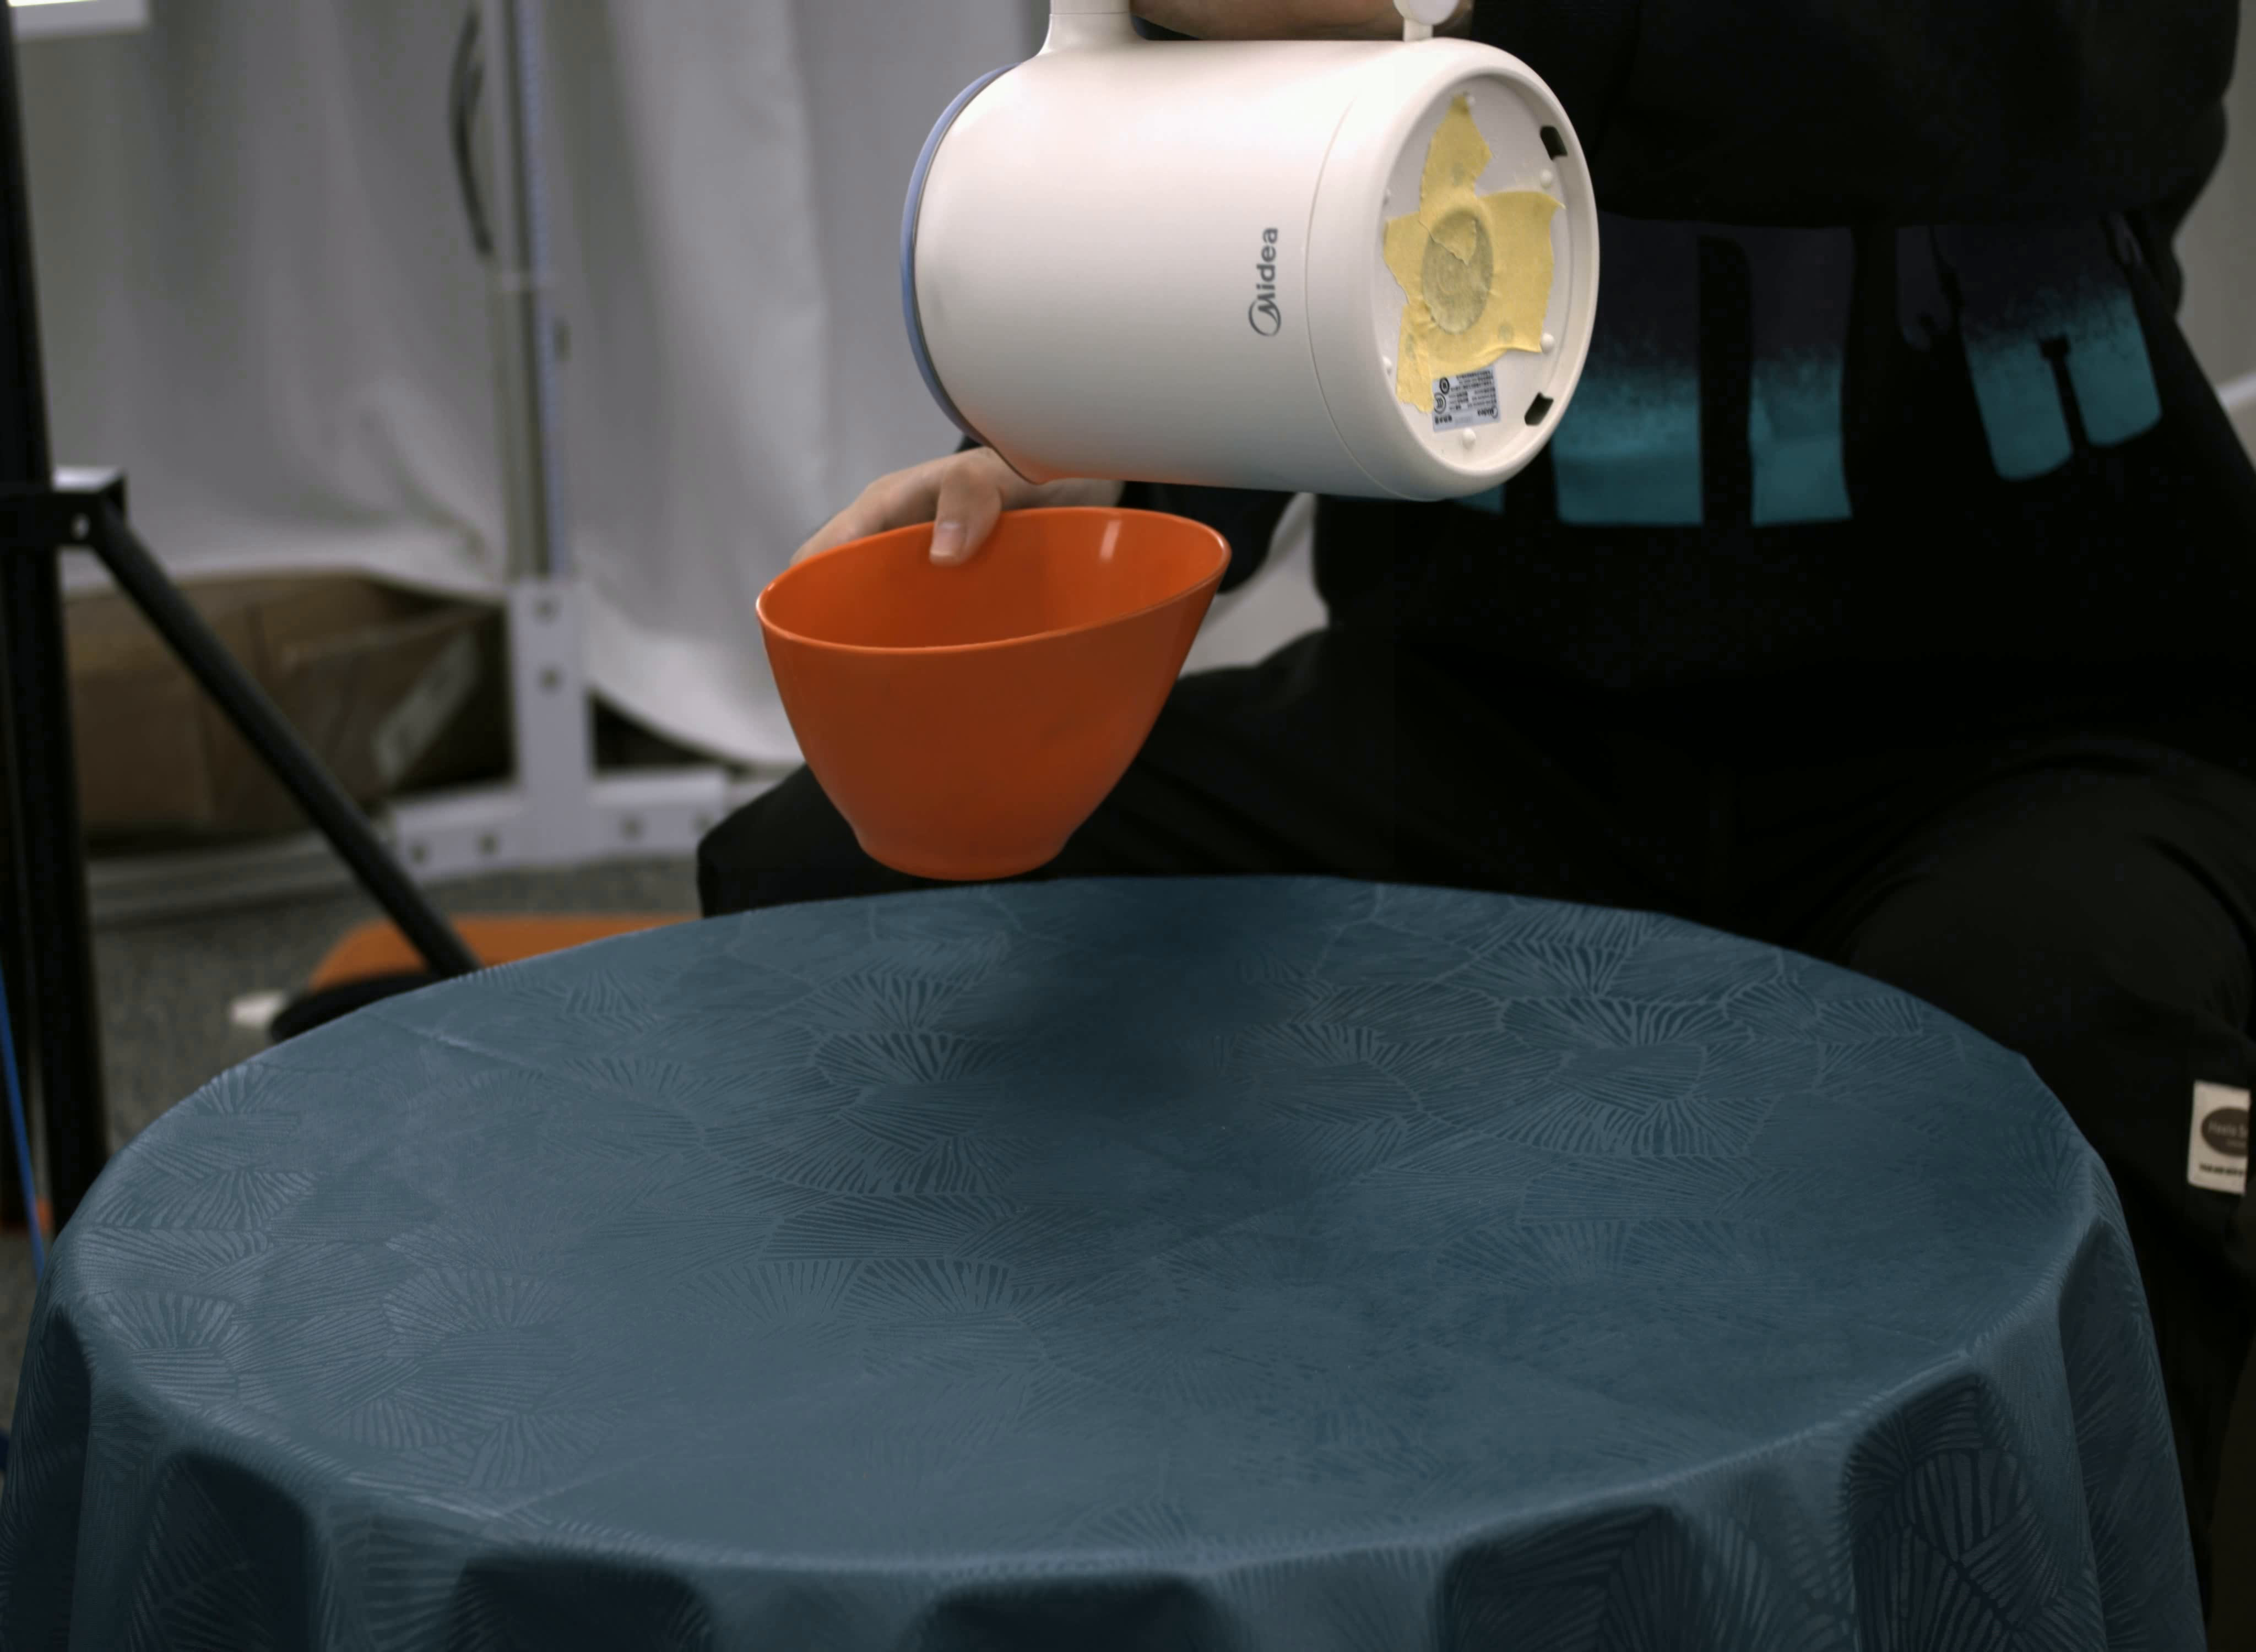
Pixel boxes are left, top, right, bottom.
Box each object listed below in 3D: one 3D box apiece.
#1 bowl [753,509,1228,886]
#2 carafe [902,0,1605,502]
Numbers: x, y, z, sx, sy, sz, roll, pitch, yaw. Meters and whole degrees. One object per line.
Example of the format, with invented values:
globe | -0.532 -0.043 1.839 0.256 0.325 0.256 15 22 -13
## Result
bowl | -0.044 -0.039 1.663 0.147 0.104 0.149 0 24 -2
carafe | 0.037 -0.189 1.554 0.186 0.191 0.129 9 11 37
